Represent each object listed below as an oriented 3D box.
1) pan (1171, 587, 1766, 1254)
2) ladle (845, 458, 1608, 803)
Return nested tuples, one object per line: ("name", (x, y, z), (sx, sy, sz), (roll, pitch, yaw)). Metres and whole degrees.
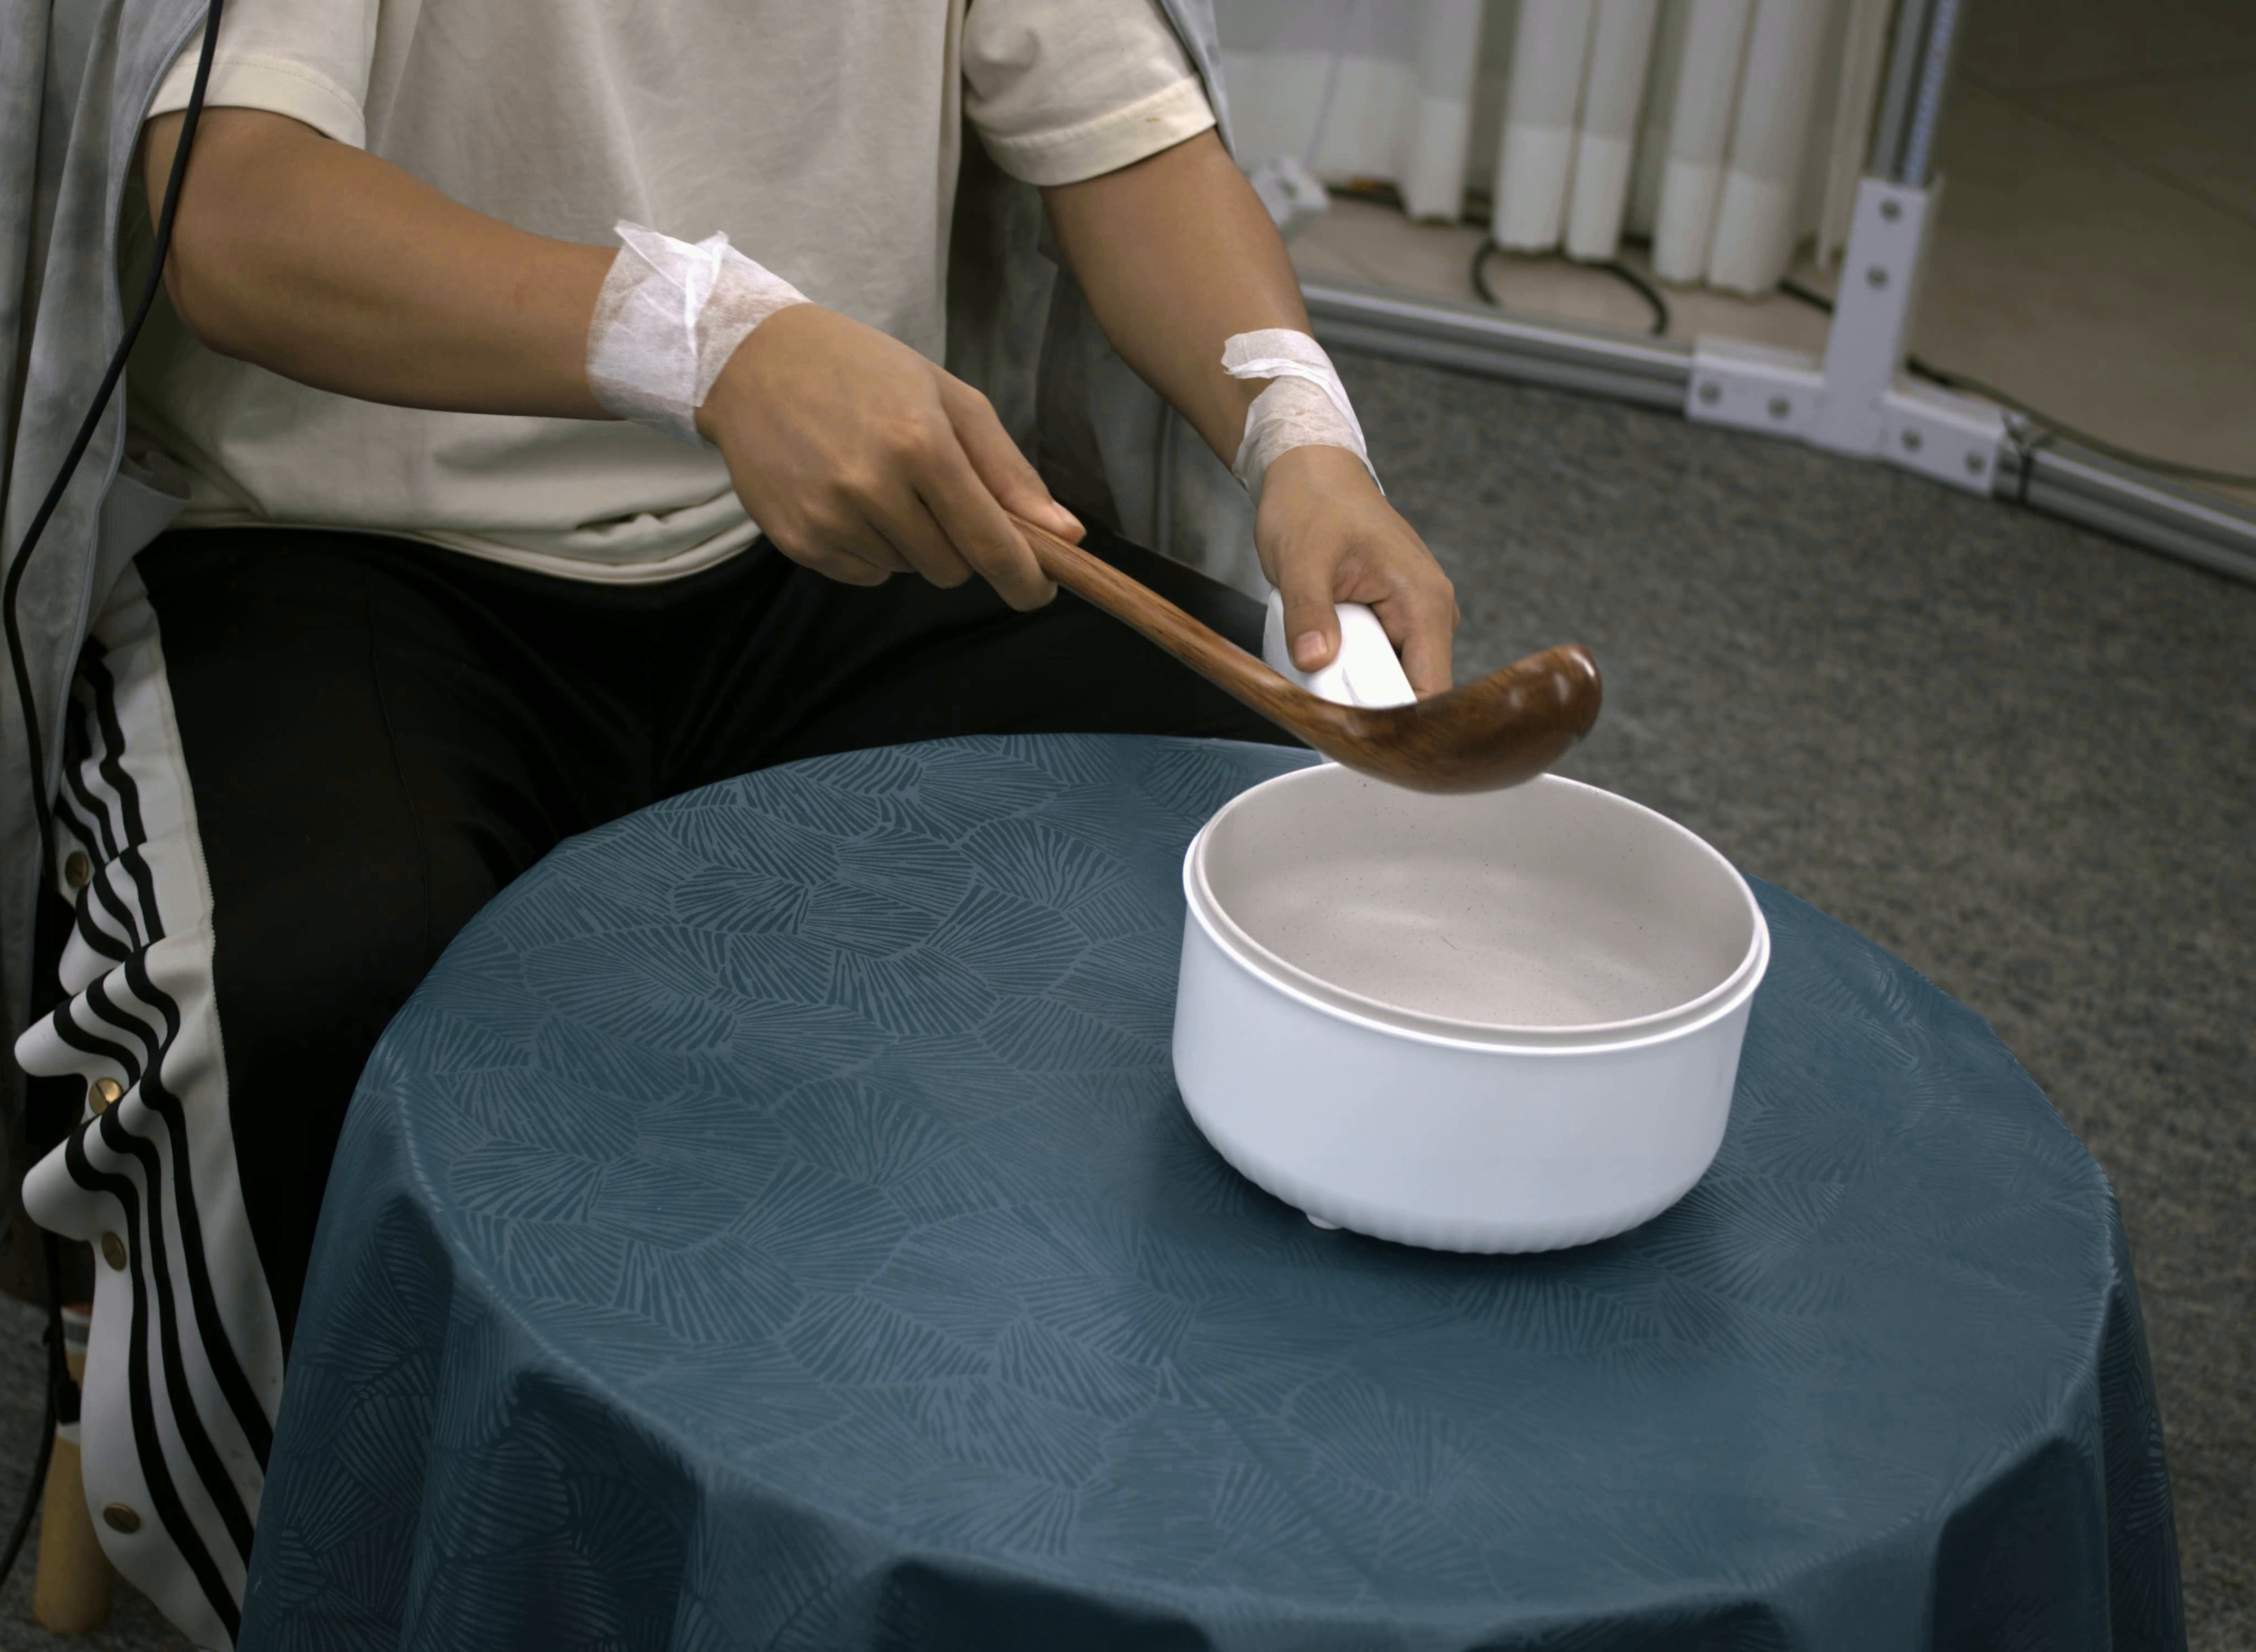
("pan", (0.100, 0.031, 1.902), (0.200, 0.102, 0.357), (0, 27, -11))
("ladle", (0.035, -0.085, 1.829), (0.275, 0.081, 0.077), (30, 75, 15))
